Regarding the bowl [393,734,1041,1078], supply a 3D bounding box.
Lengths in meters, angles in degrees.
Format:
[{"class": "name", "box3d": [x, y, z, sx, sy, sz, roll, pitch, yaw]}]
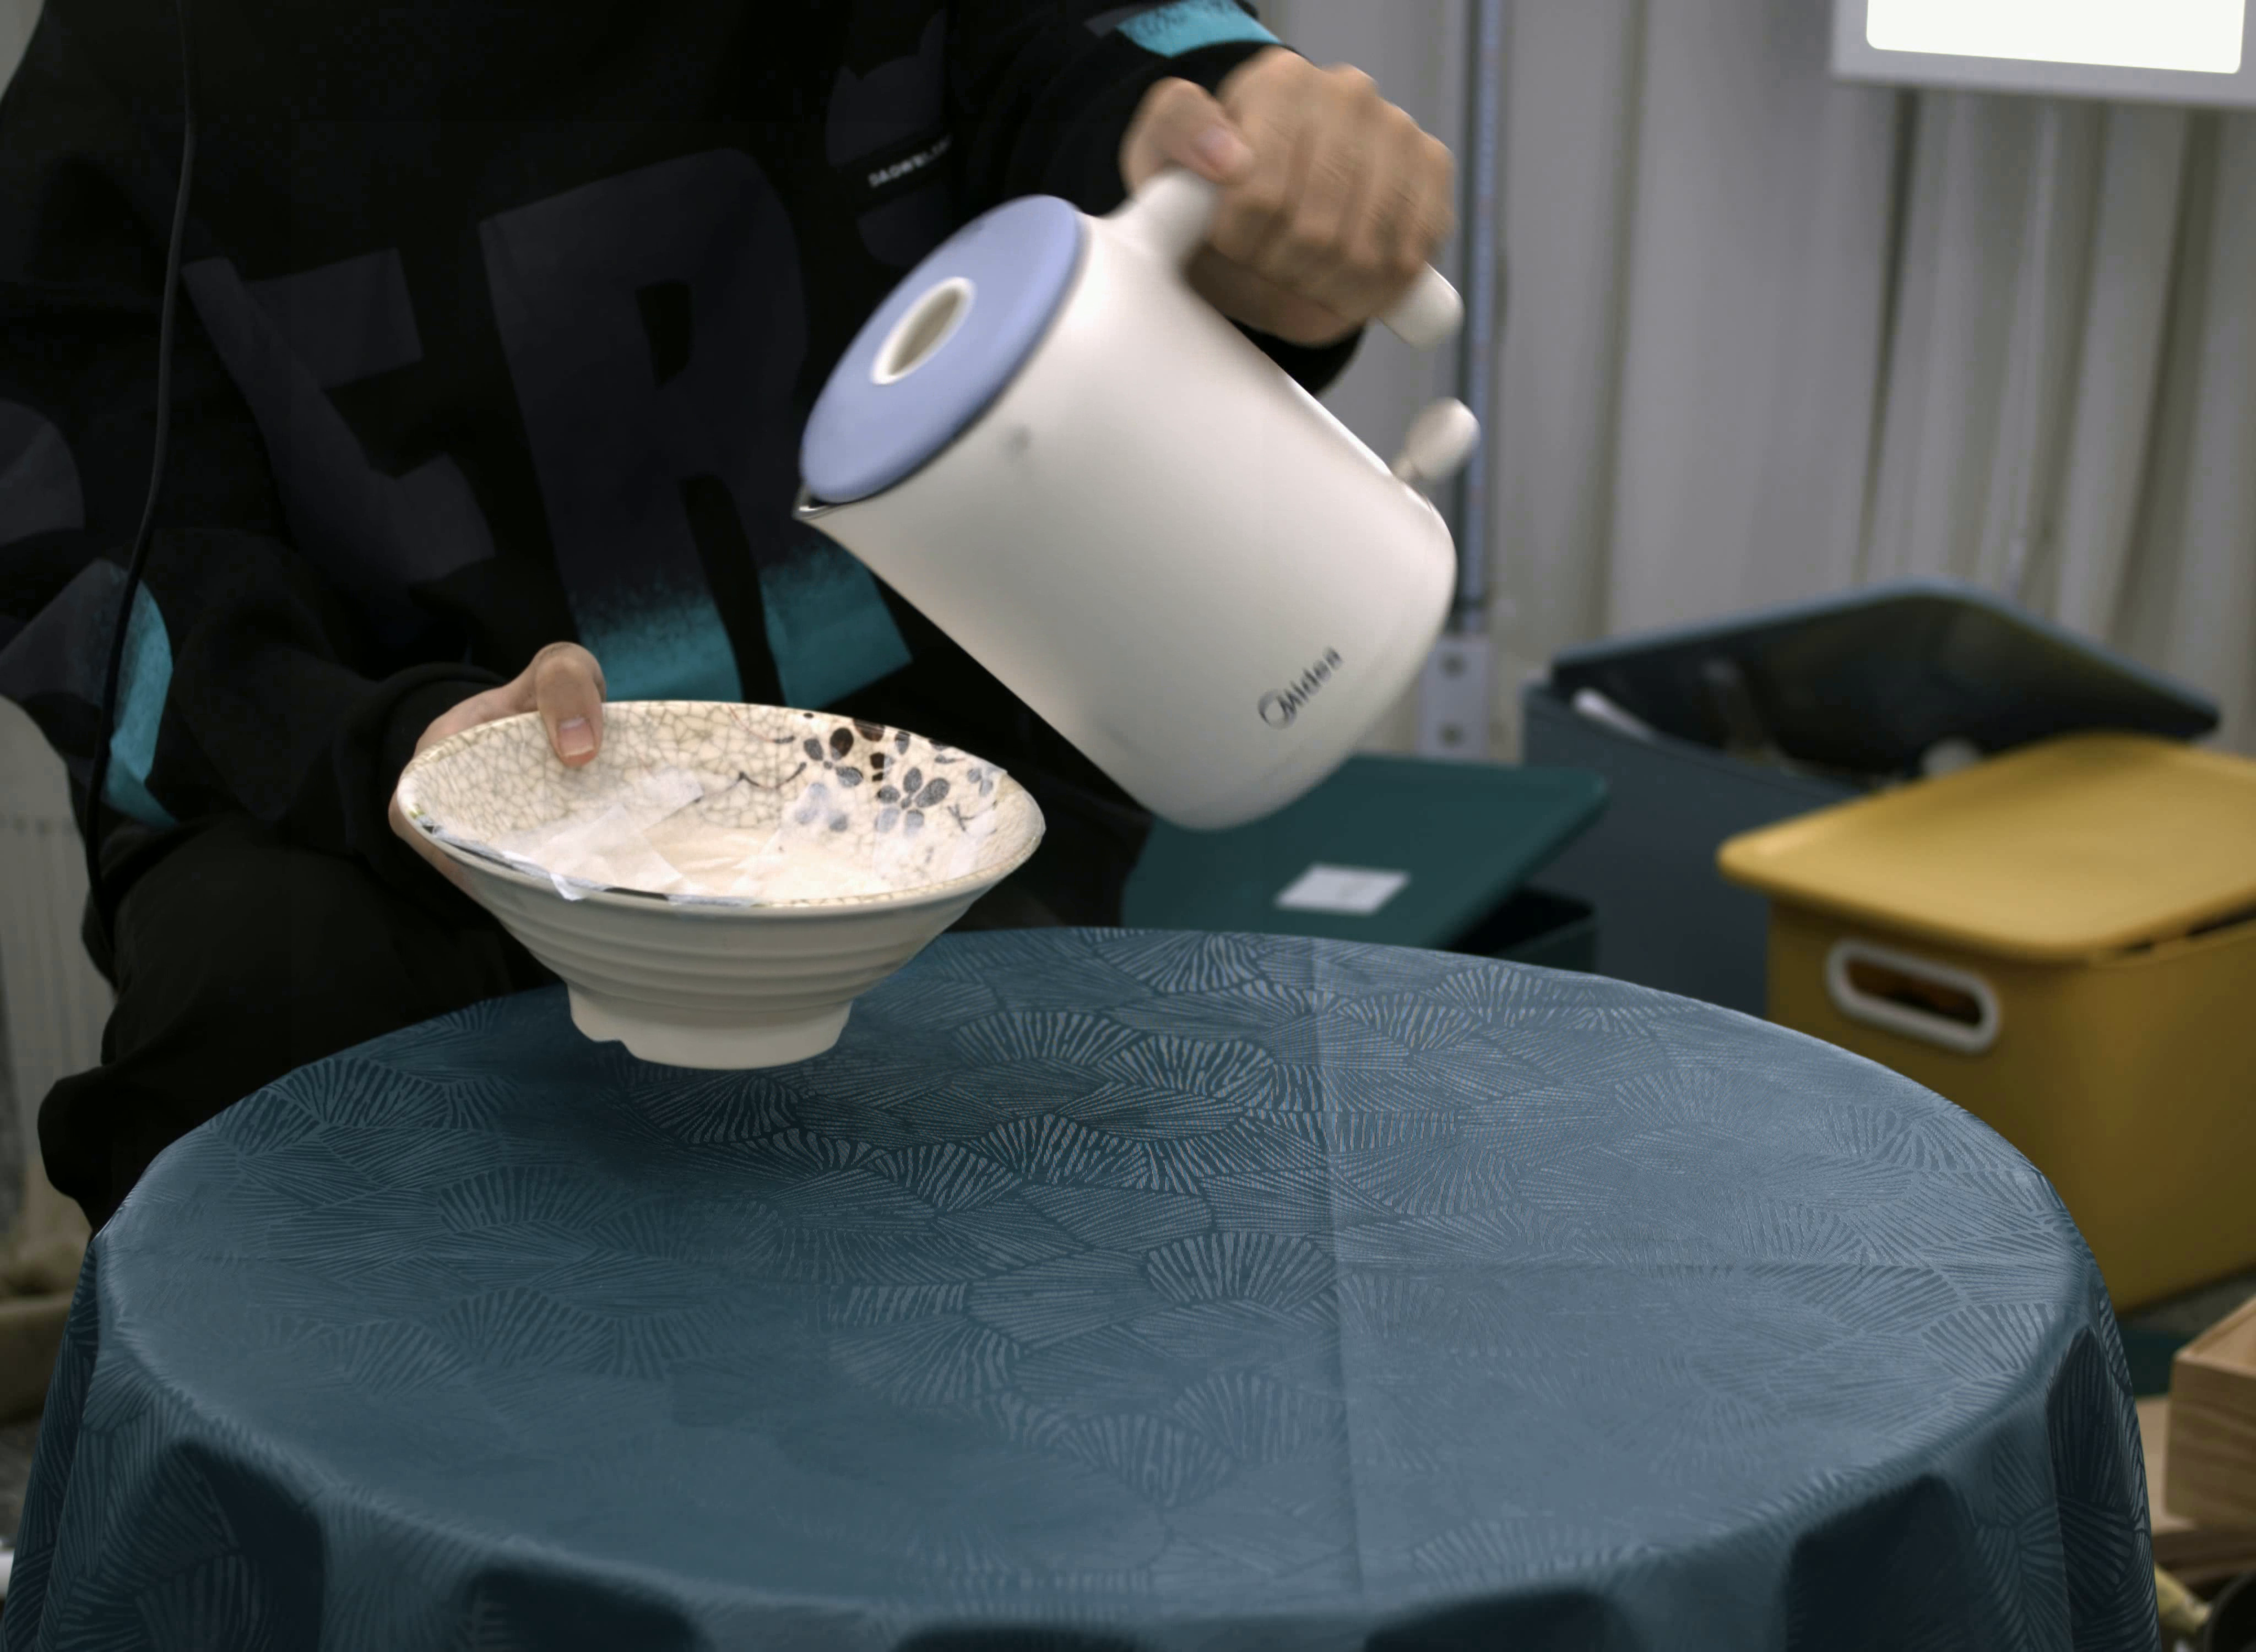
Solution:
[{"class": "bowl", "box3d": [-0.131, 0.030, 1.658, 0.203, 0.078, 0.203, 5, 13, -1]}]

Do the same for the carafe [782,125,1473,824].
[{"class": "carafe", "box3d": [0.013, -0.117, 1.624, 0.184, 0.191, 0.131, 42, 4, -25]}]
